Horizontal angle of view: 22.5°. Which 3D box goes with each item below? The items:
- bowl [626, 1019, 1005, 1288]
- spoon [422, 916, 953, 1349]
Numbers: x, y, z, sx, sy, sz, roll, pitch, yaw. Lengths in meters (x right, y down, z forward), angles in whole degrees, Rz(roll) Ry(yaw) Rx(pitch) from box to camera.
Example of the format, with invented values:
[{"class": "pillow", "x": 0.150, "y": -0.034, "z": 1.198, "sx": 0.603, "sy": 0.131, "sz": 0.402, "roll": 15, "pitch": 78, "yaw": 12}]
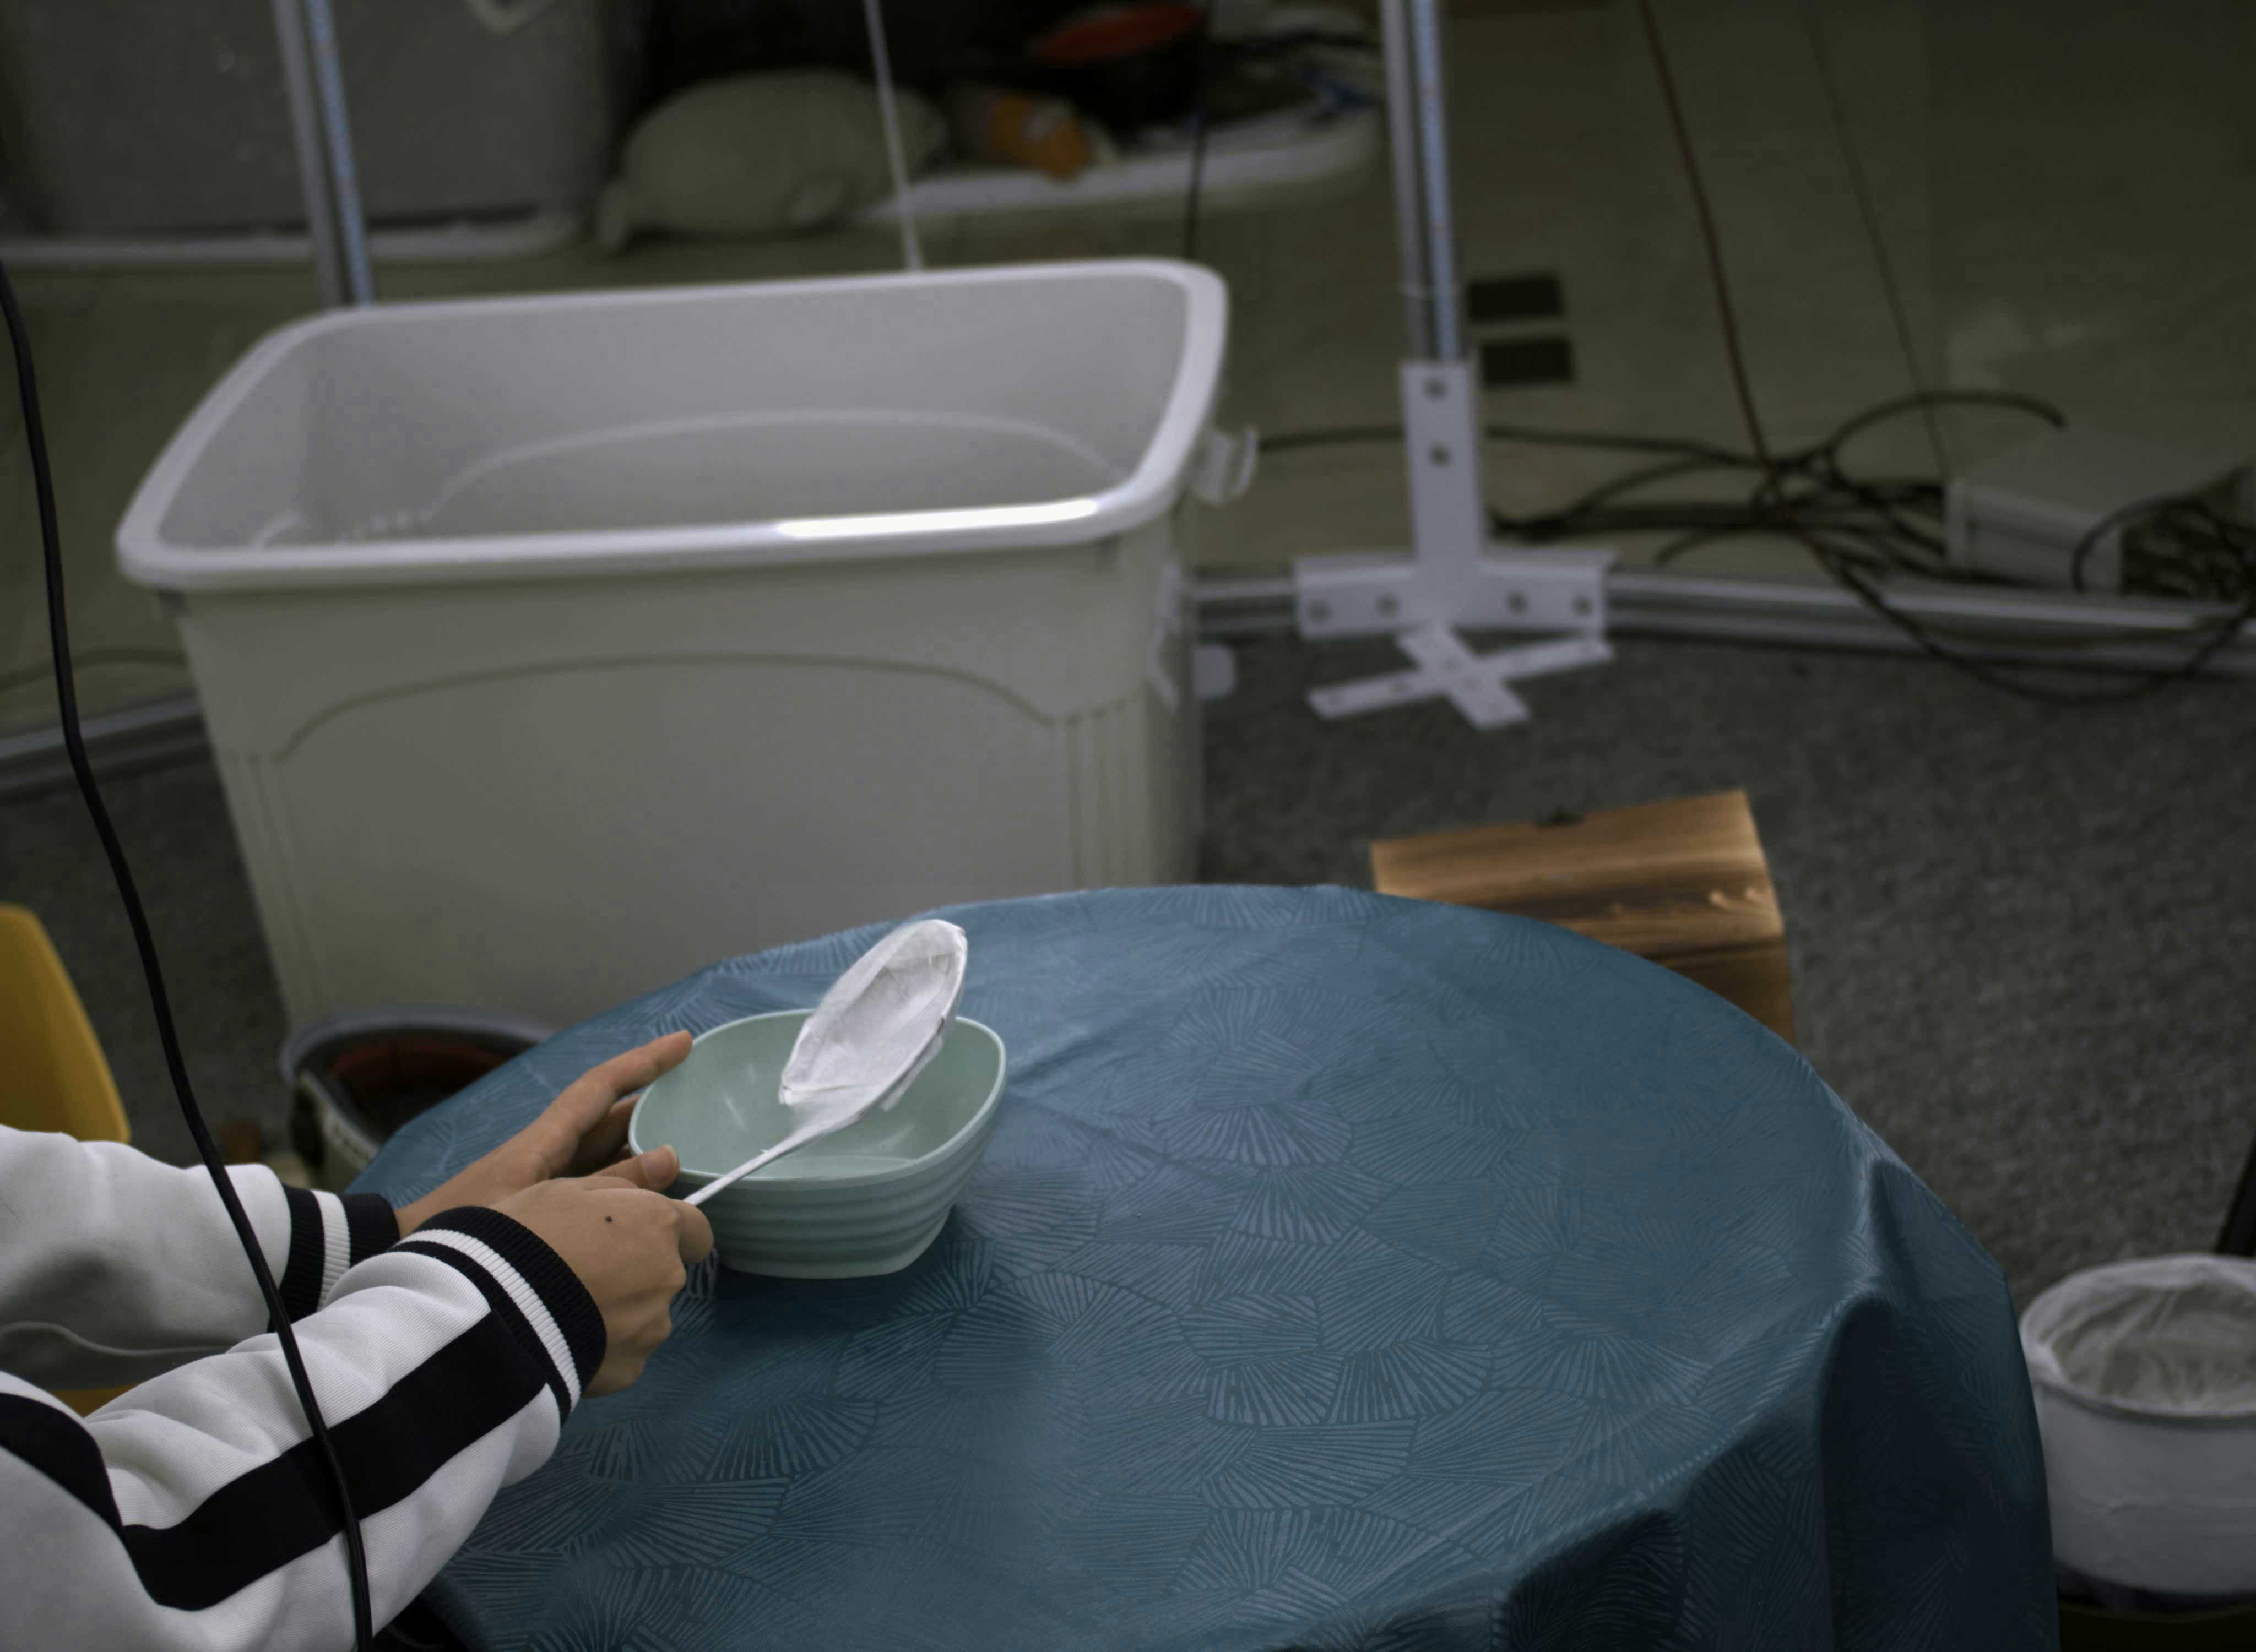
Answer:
[{"class": "bowl", "x": -0.114, "y": 0.128, "z": 2.137, "sx": 0.151, "sy": 0.059, "sz": 0.149, "roll": -6, "pitch": 25, "yaw": 3}, {"class": "spoon", "x": -0.162, "y": 0.108, "z": 2.032, "sx": 0.275, "sy": 0.059, "sz": 0.101, "roll": -27, "pitch": 0, "yaw": -41}]
